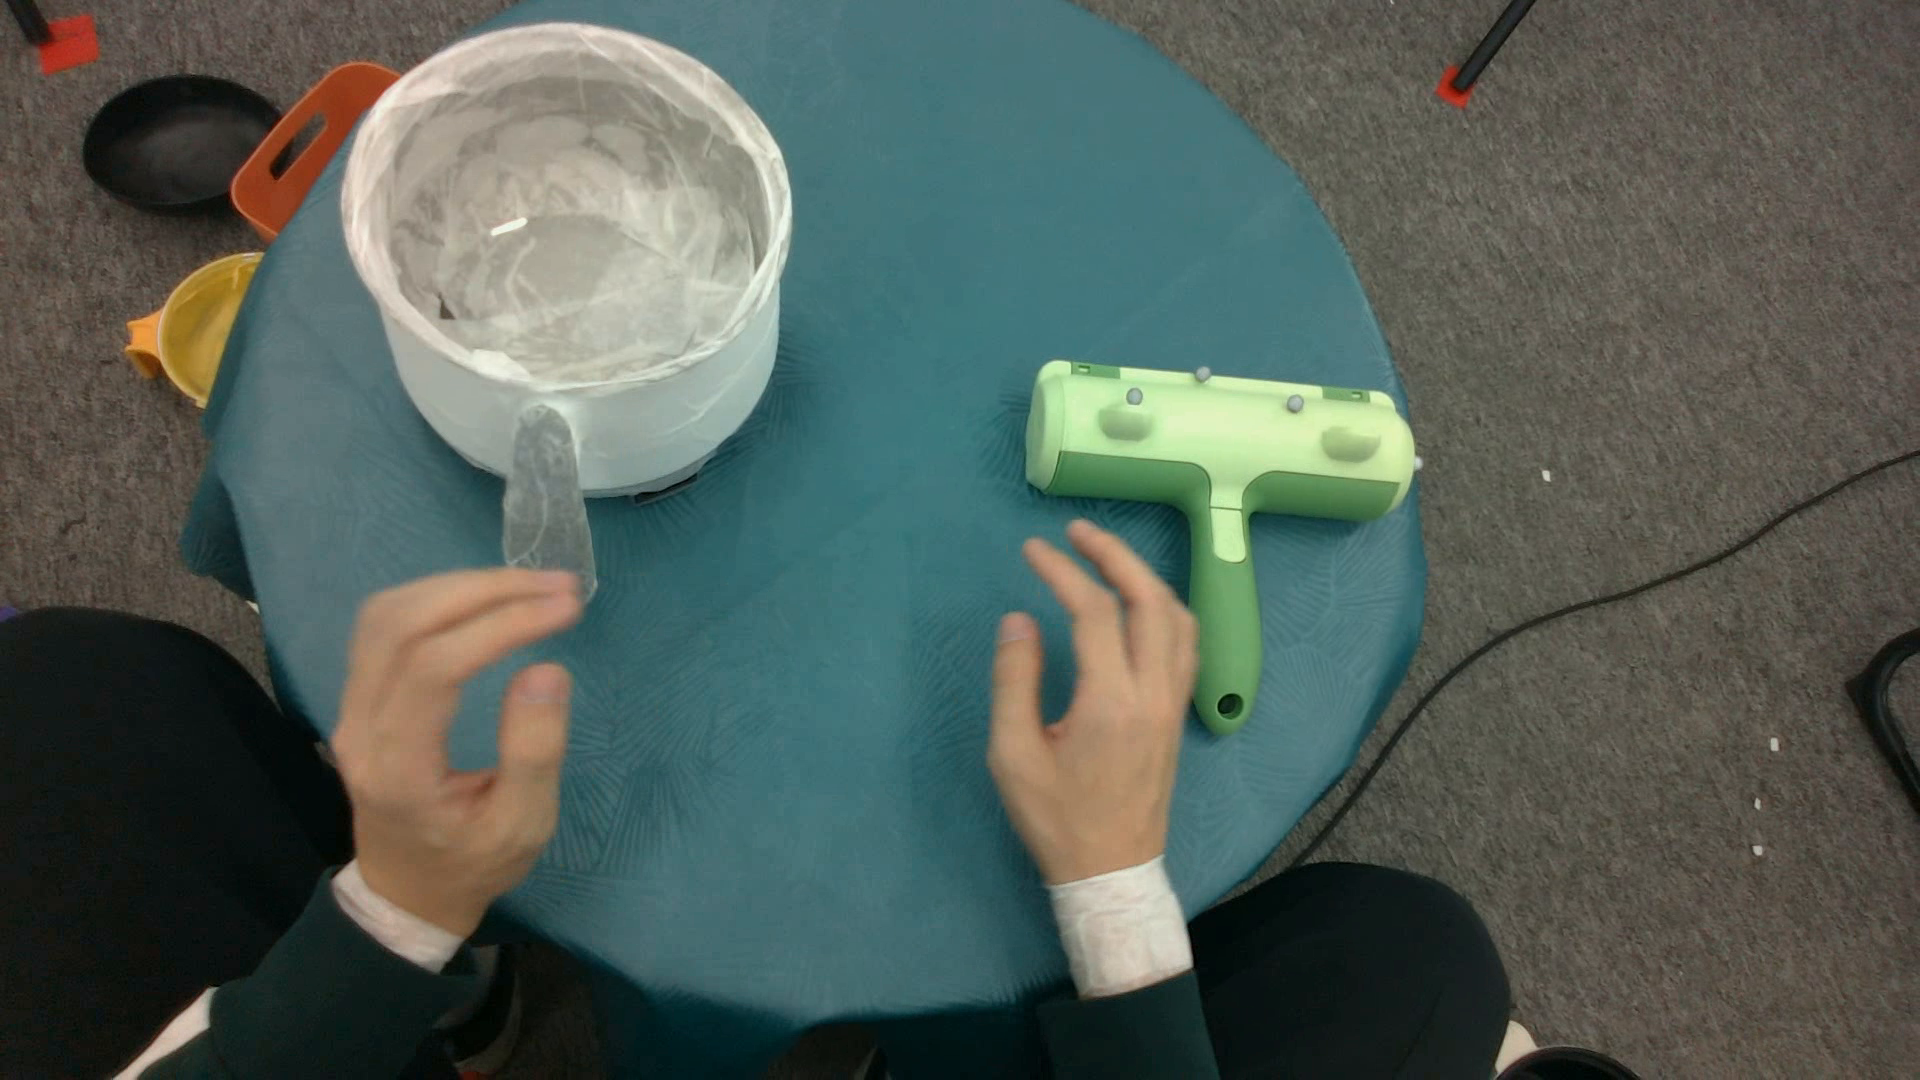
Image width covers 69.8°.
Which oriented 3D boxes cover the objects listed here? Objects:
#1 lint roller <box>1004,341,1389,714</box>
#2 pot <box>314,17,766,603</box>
[{"bbox_3d":[0.125,-0.012,0.679,0.199,0.082,0.184,4,64,-11],"label":"lint roller"},{"bbox_3d":[-0.181,-0.096,0.612,0.179,0.136,0.234,3,68,-11],"label":"pot"}]
